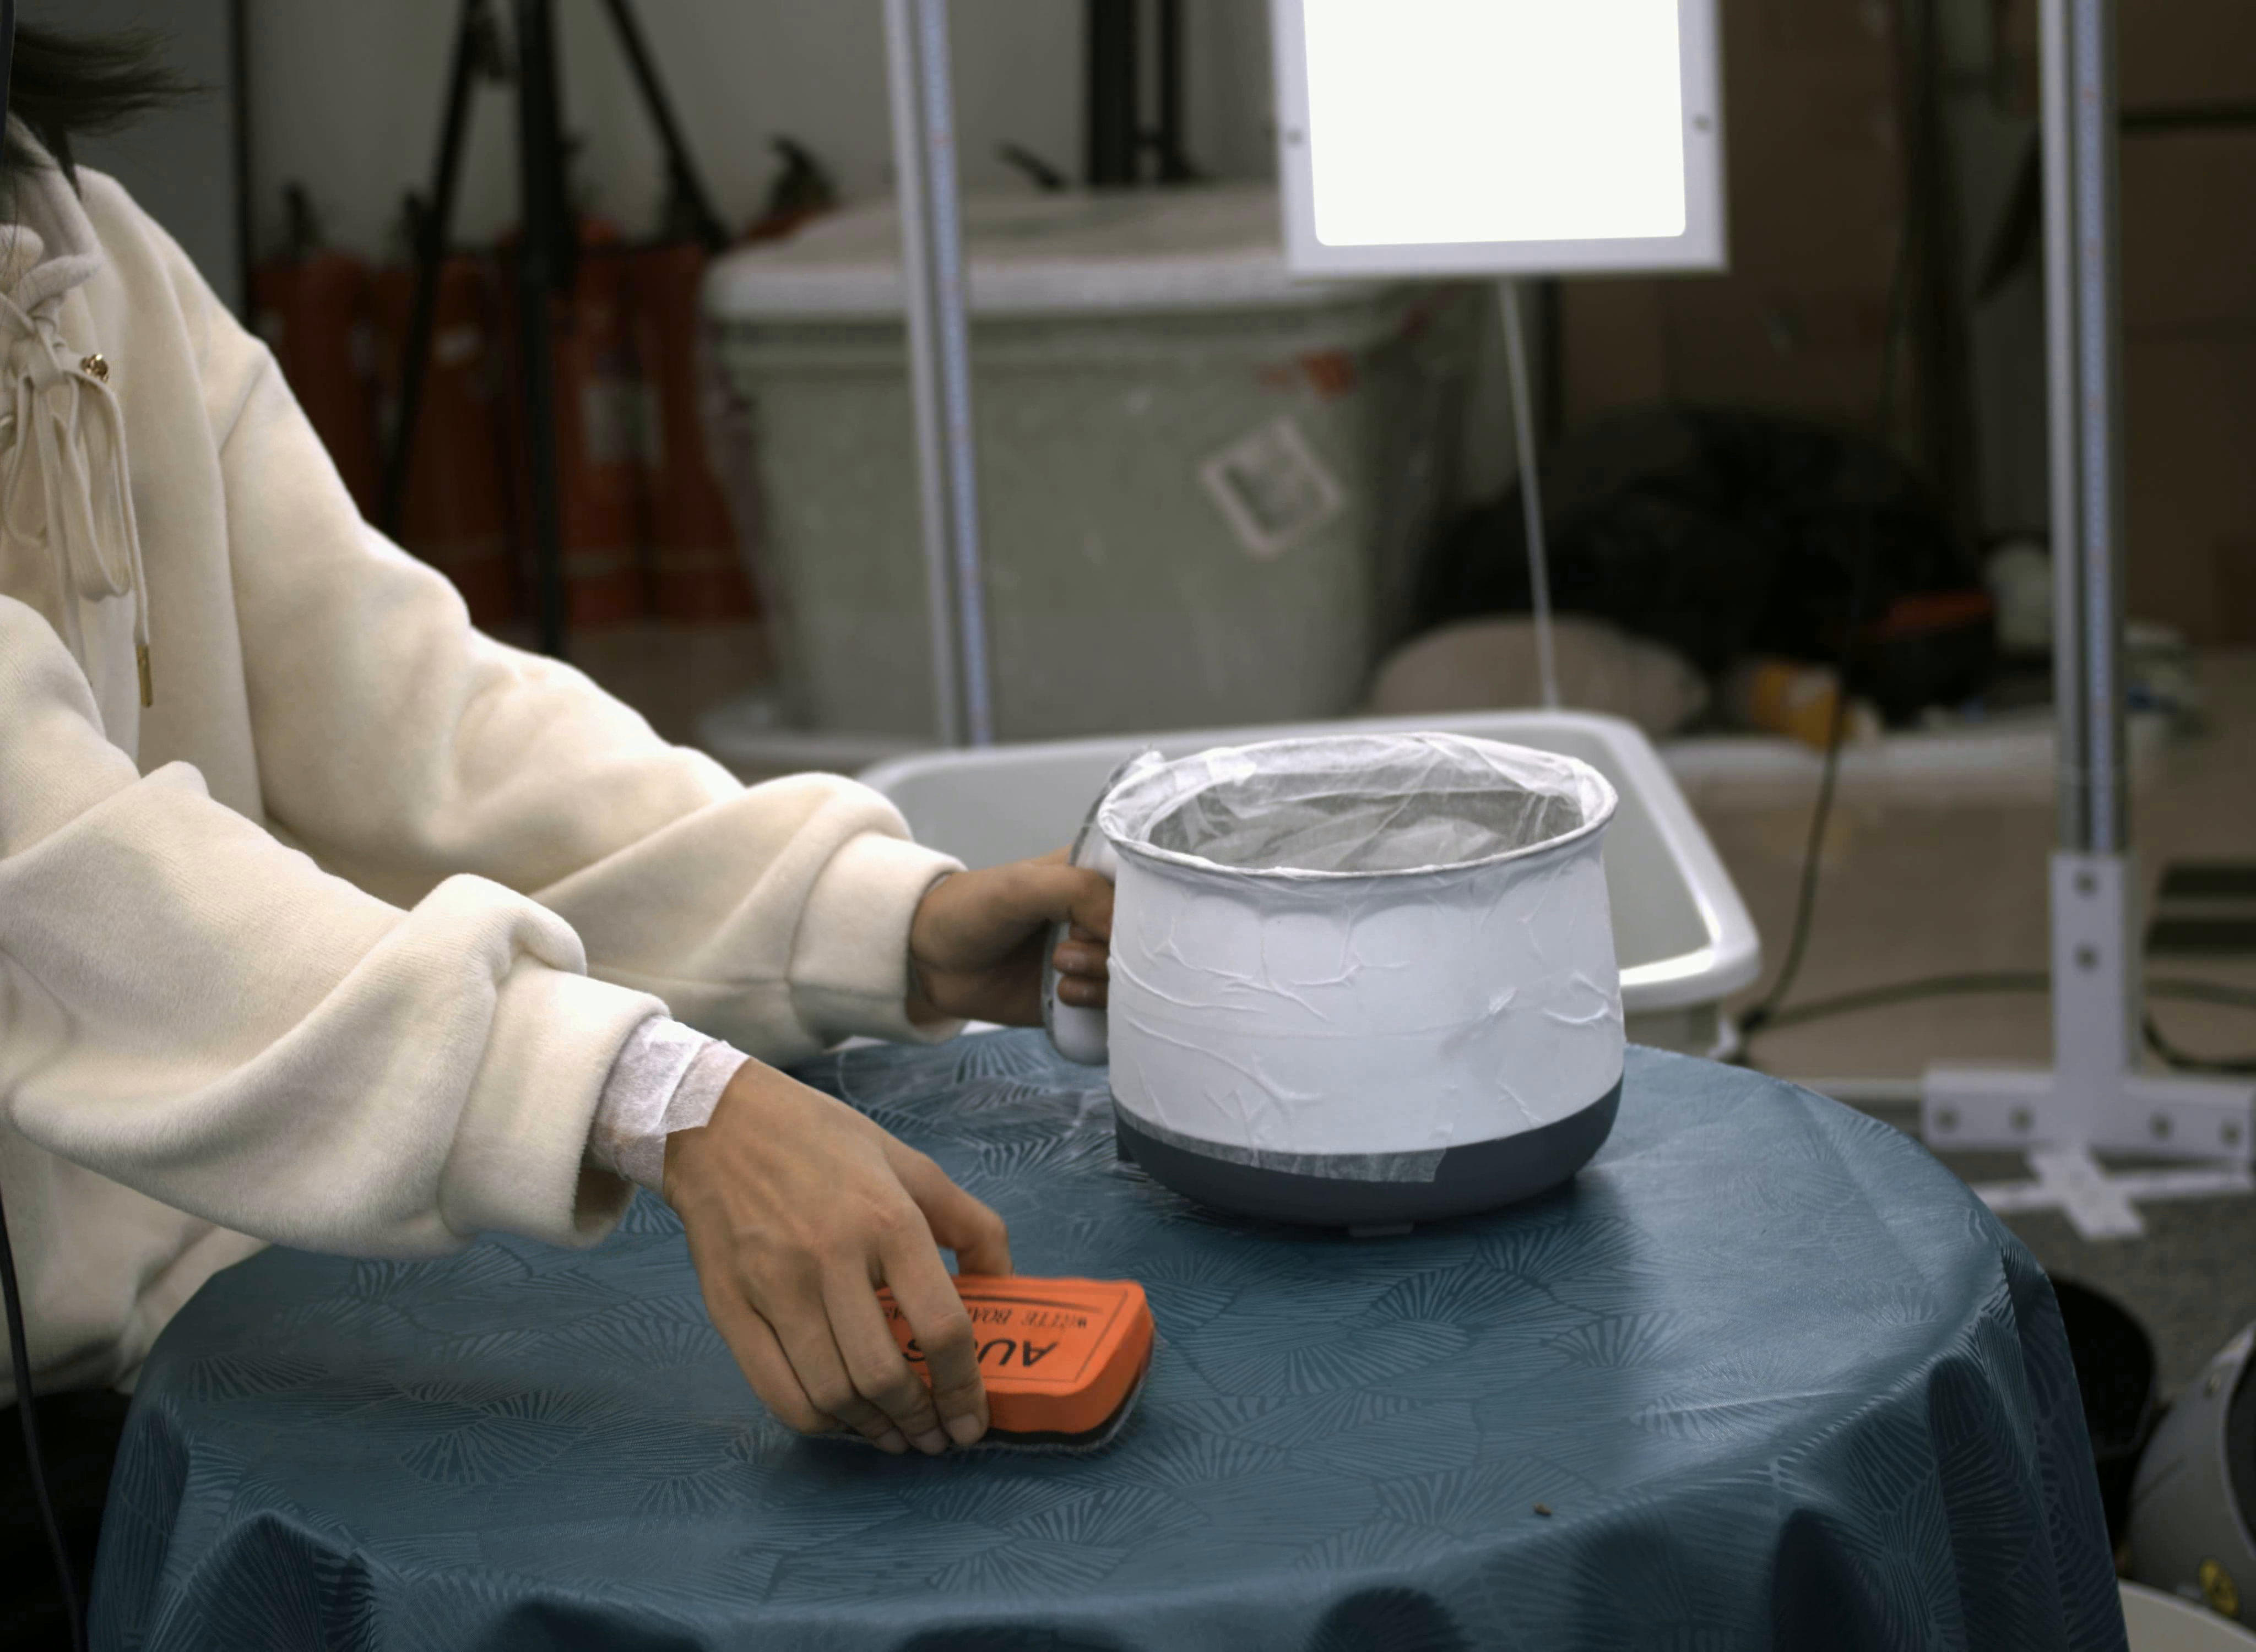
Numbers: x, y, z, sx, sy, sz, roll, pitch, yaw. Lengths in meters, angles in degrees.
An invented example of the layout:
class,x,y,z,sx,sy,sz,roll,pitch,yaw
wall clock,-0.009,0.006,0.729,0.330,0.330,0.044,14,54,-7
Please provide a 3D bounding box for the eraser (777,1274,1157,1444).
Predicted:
class,x,y,z,sx,sy,sz,roll,pitch,yaw
eraser,-0.049,0.162,1.678,0.110,0.023,0.058,-1,30,28

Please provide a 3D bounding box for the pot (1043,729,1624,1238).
class,x,y,z,sx,sy,sz,roll,pitch,yaw
pot,0.060,0.048,1.893,0.238,0.137,0.174,12,22,42
